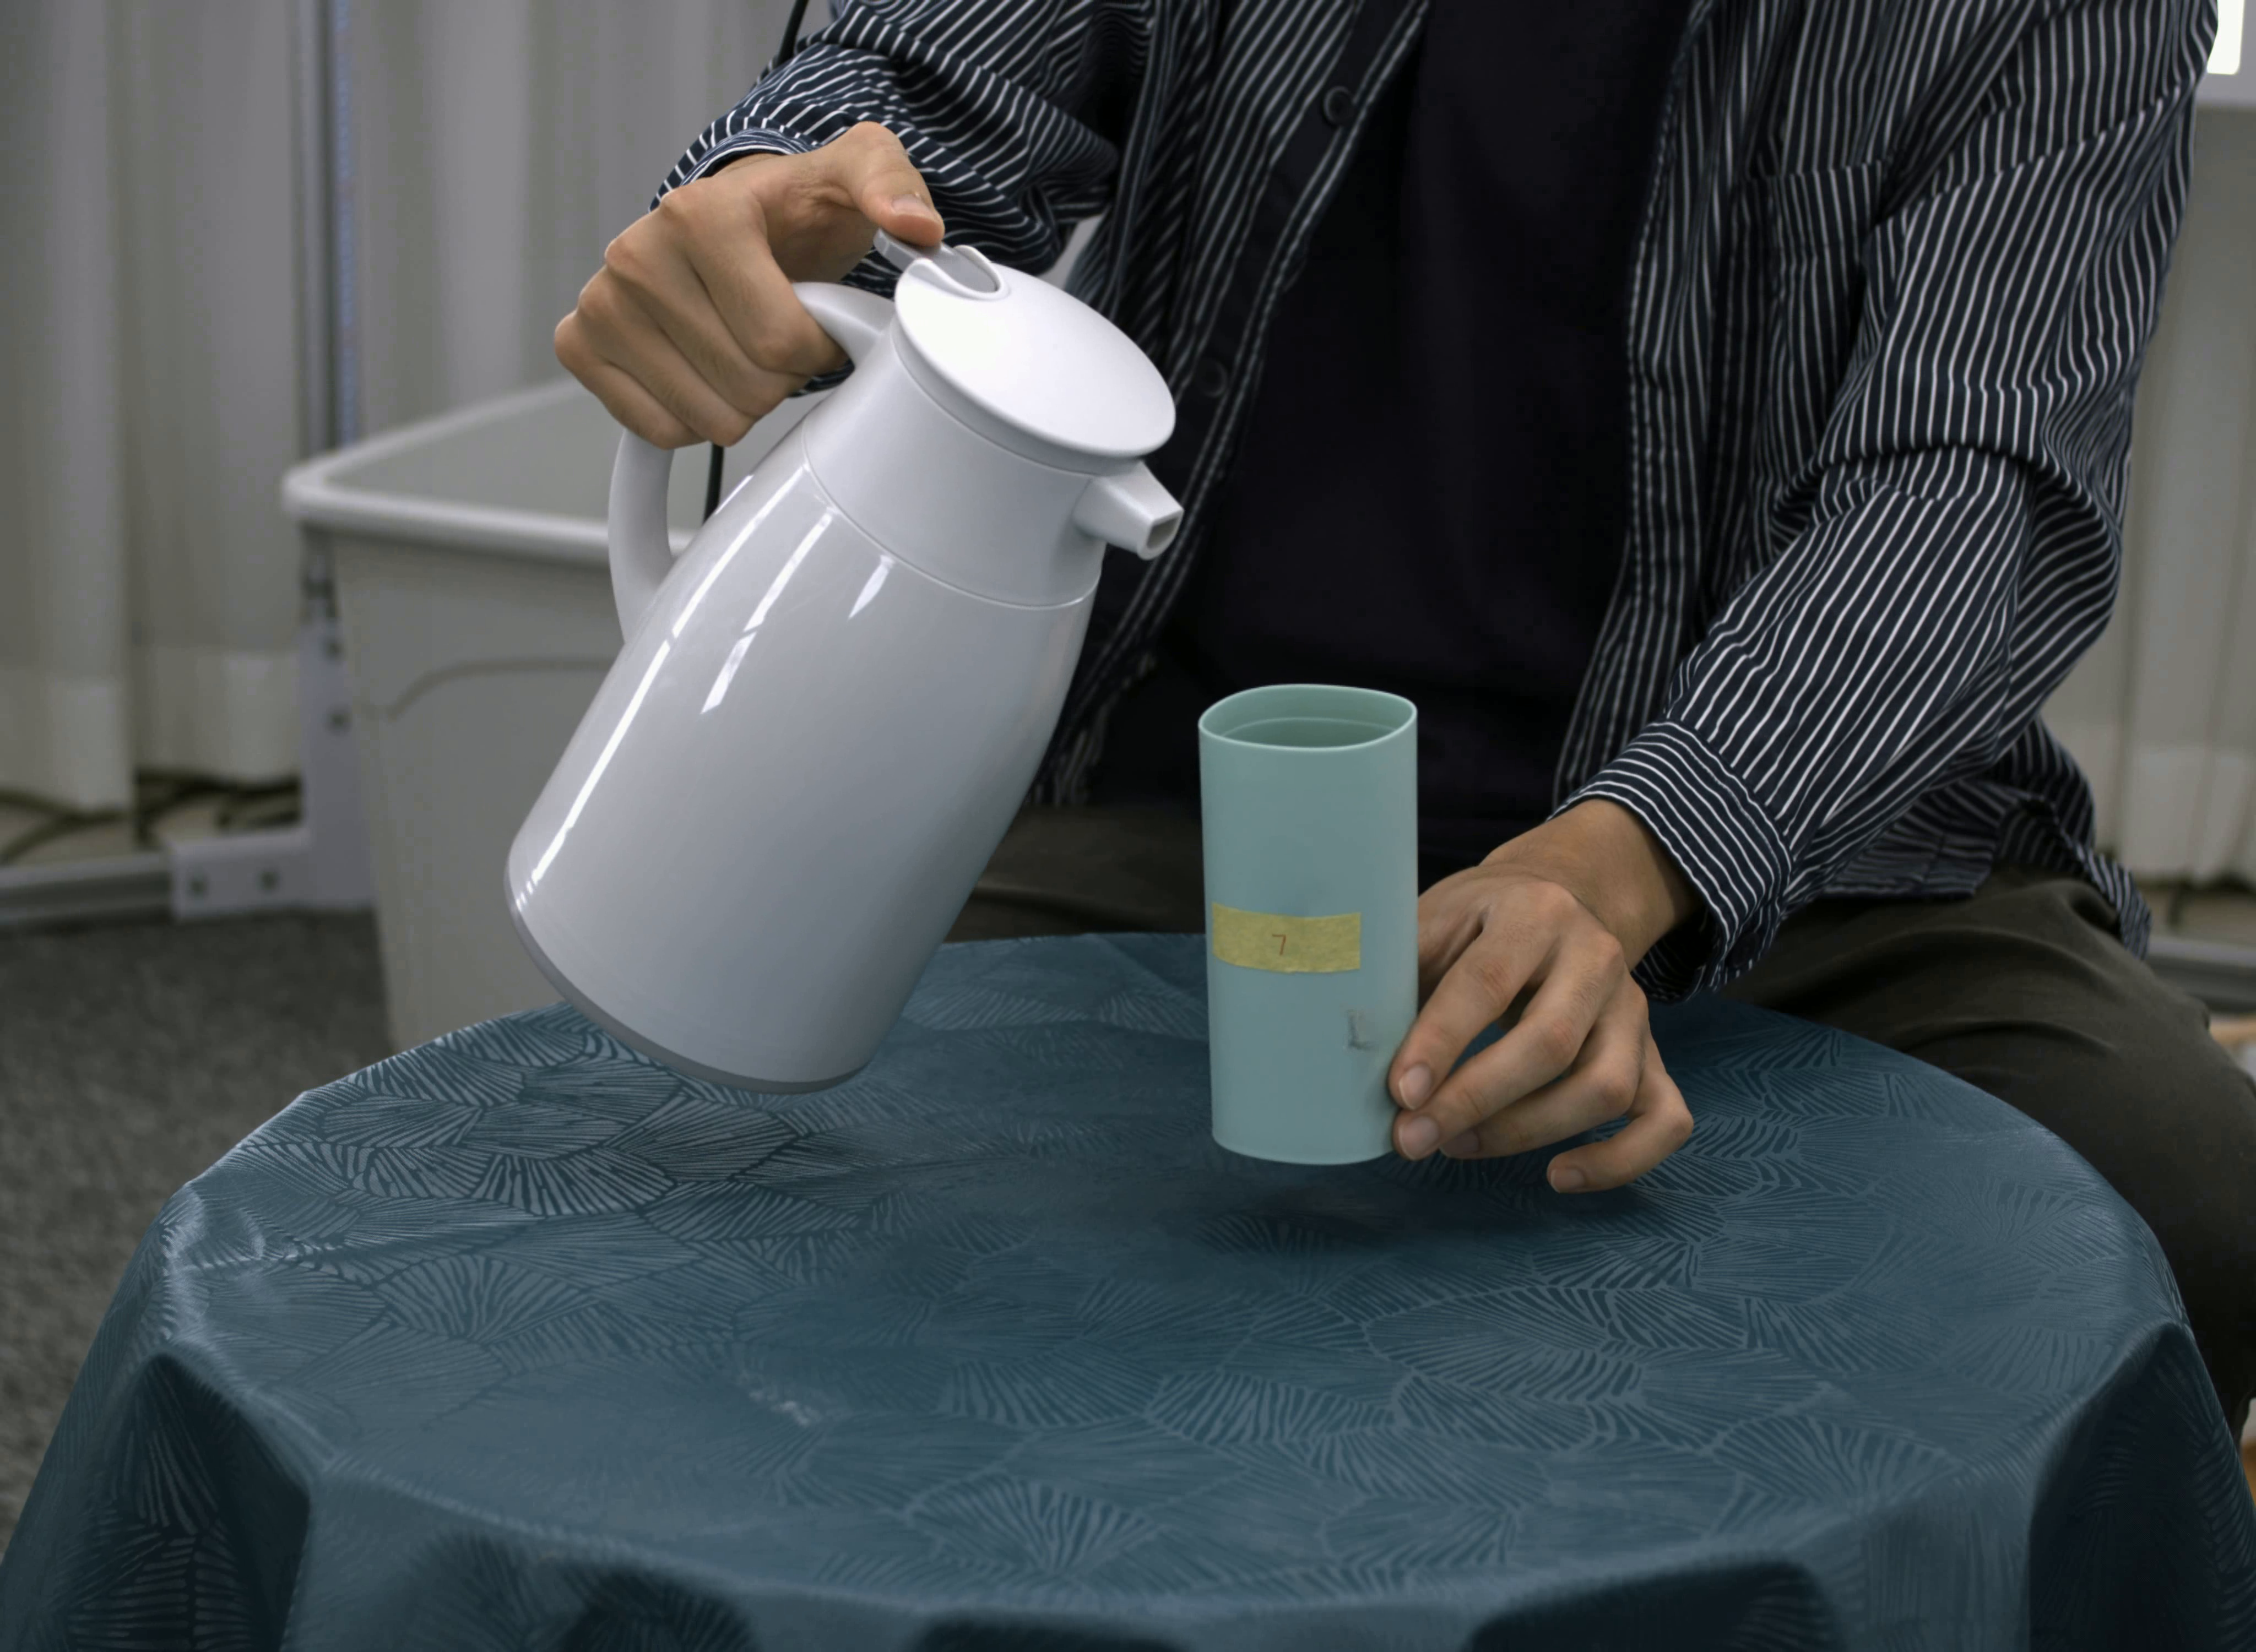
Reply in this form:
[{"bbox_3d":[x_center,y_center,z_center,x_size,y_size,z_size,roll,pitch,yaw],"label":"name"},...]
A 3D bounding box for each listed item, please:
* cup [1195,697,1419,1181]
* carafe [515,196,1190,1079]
[{"bbox_3d":[0.055,0.033,1.571,0.066,0.133,0.066,-2,18,1],"label":"cup"},{"bbox_3d":[-0.092,-0.068,1.590,0.166,0.250,0.133,38,31,13],"label":"carafe"}]
